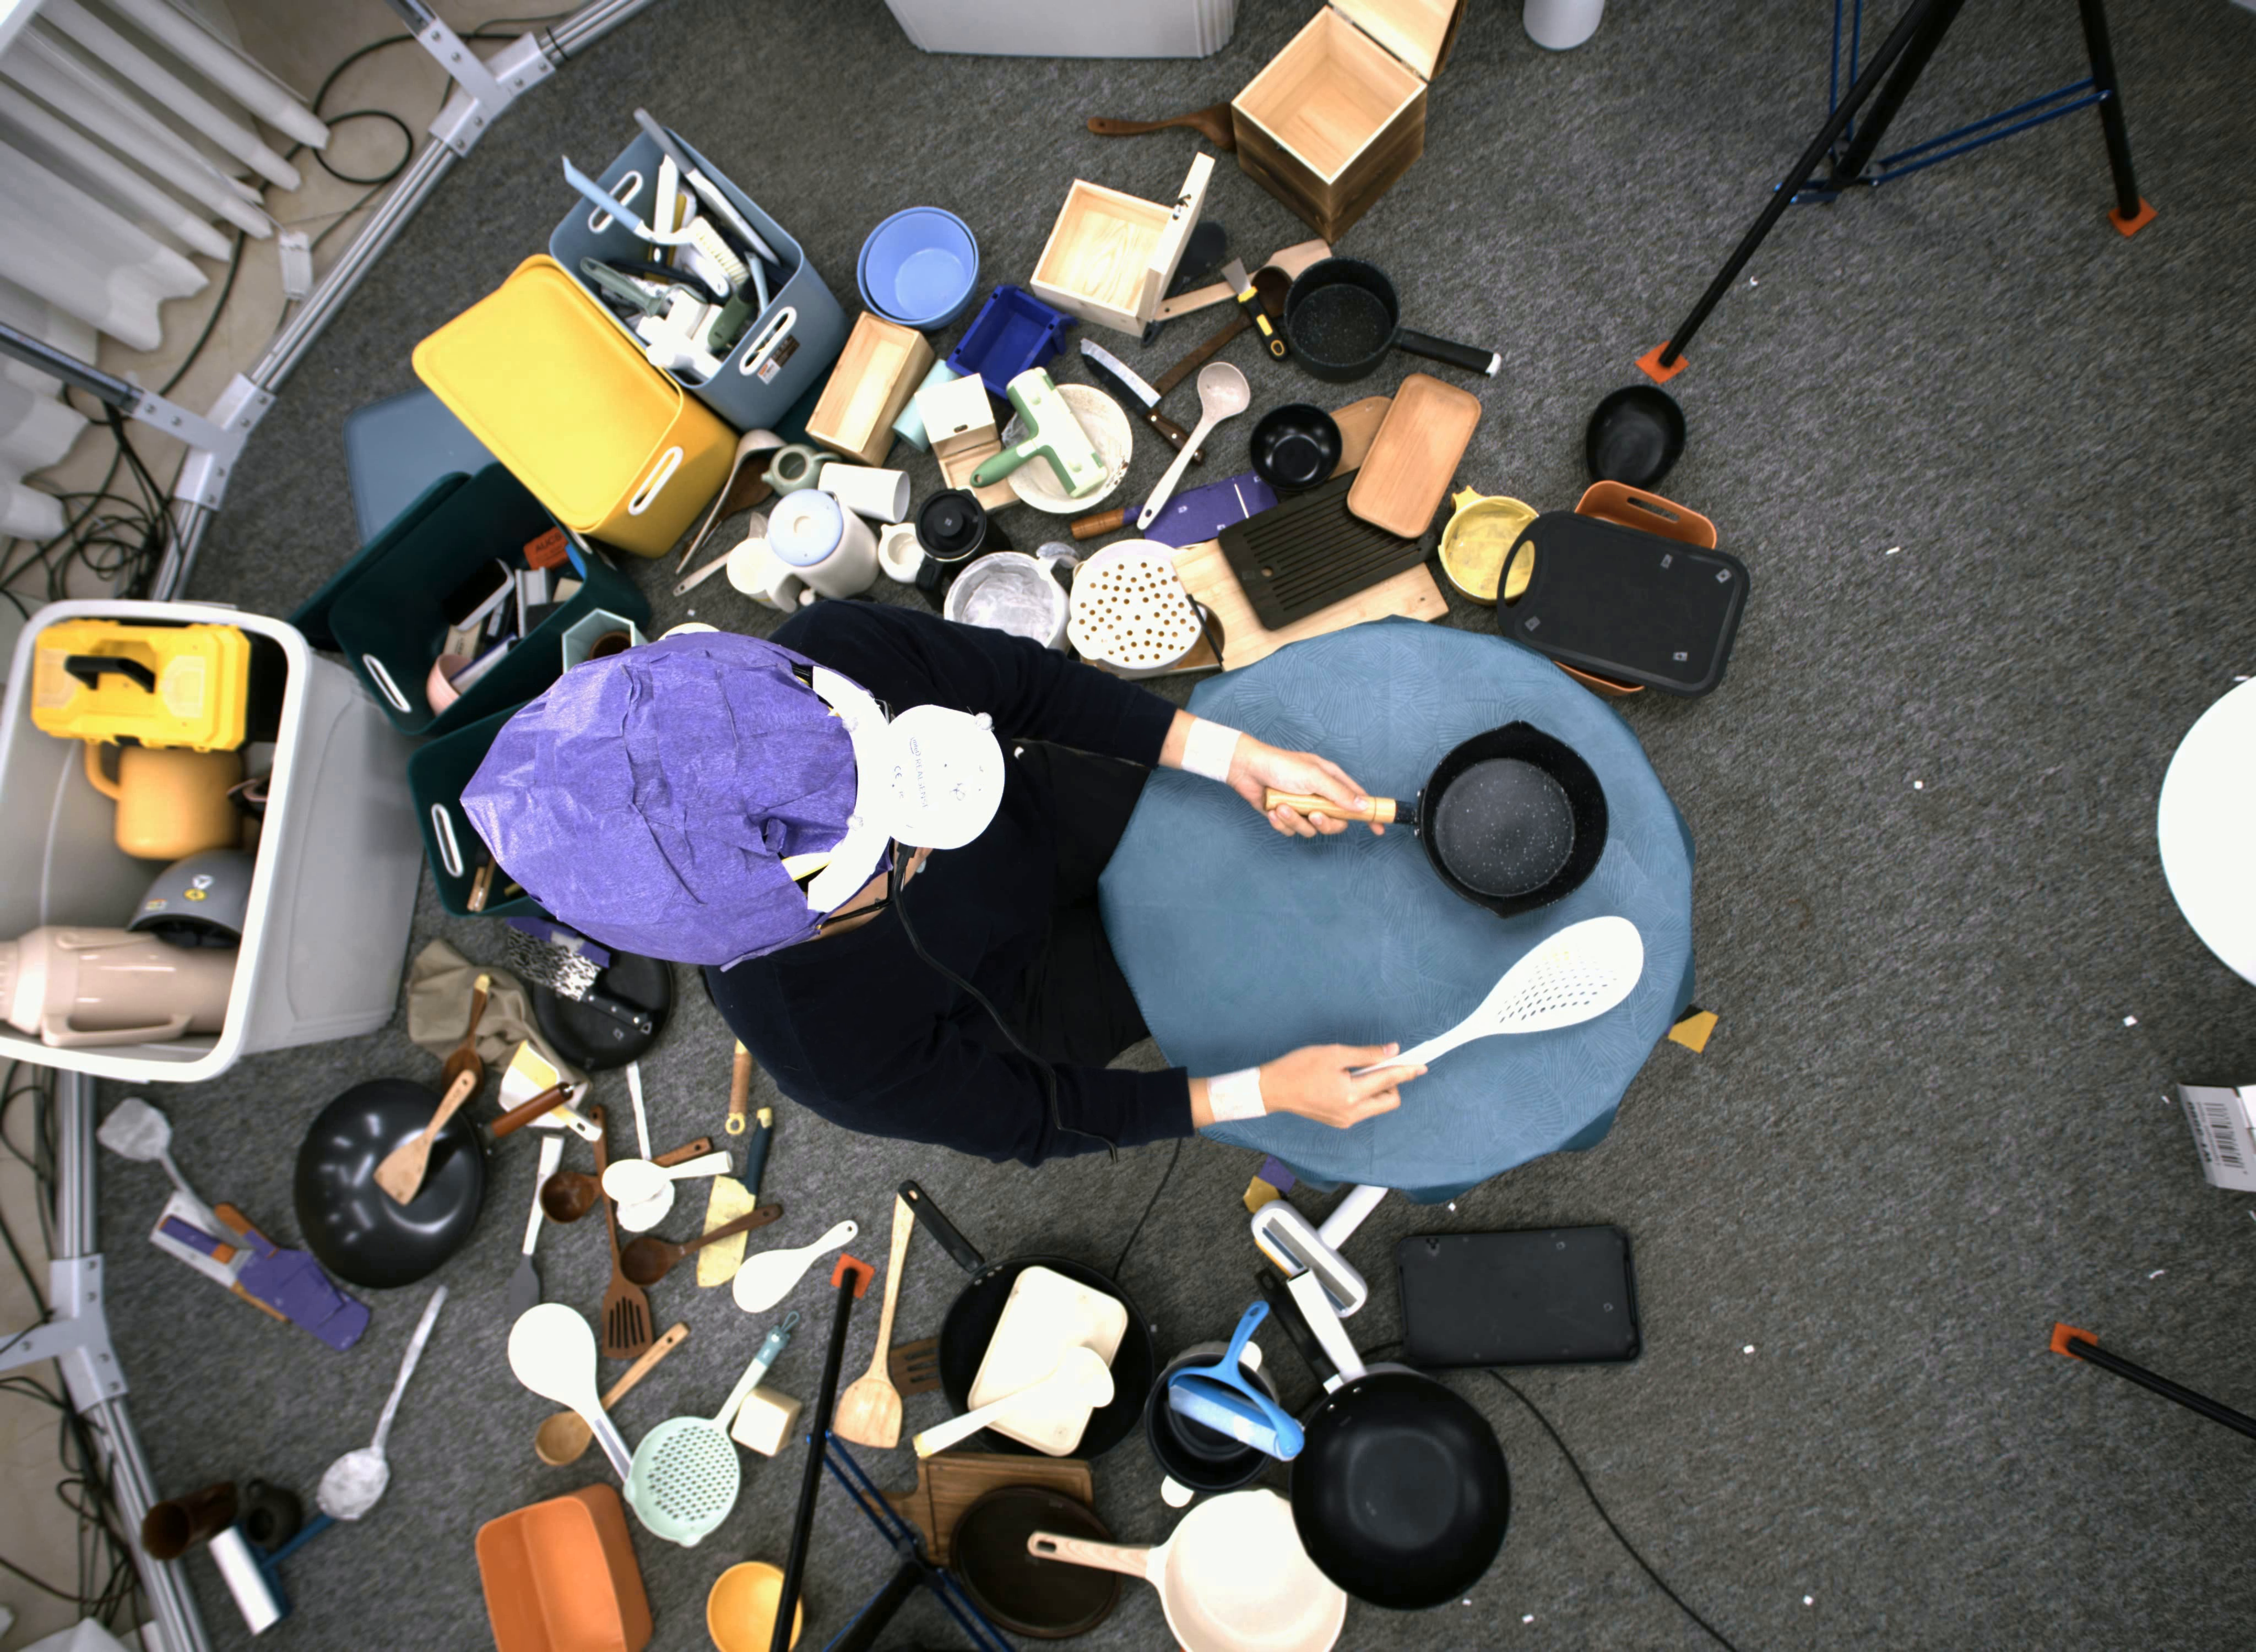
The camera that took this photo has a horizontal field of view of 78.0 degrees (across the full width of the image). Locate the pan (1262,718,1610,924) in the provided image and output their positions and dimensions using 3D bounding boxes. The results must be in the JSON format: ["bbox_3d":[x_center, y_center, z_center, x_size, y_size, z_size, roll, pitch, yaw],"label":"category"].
[{"bbox_3d":[0.308,-0.010,1.399,0.344,0.108,0.207,4,88,8],"label":"pan"}]

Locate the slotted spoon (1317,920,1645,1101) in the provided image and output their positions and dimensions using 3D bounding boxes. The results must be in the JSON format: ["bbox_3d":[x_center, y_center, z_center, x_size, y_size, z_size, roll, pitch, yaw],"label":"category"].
[{"bbox_3d":[0.342,0.187,1.347,0.349,0.139,0.049,-32,46,5],"label":"slotted spoon"}]
